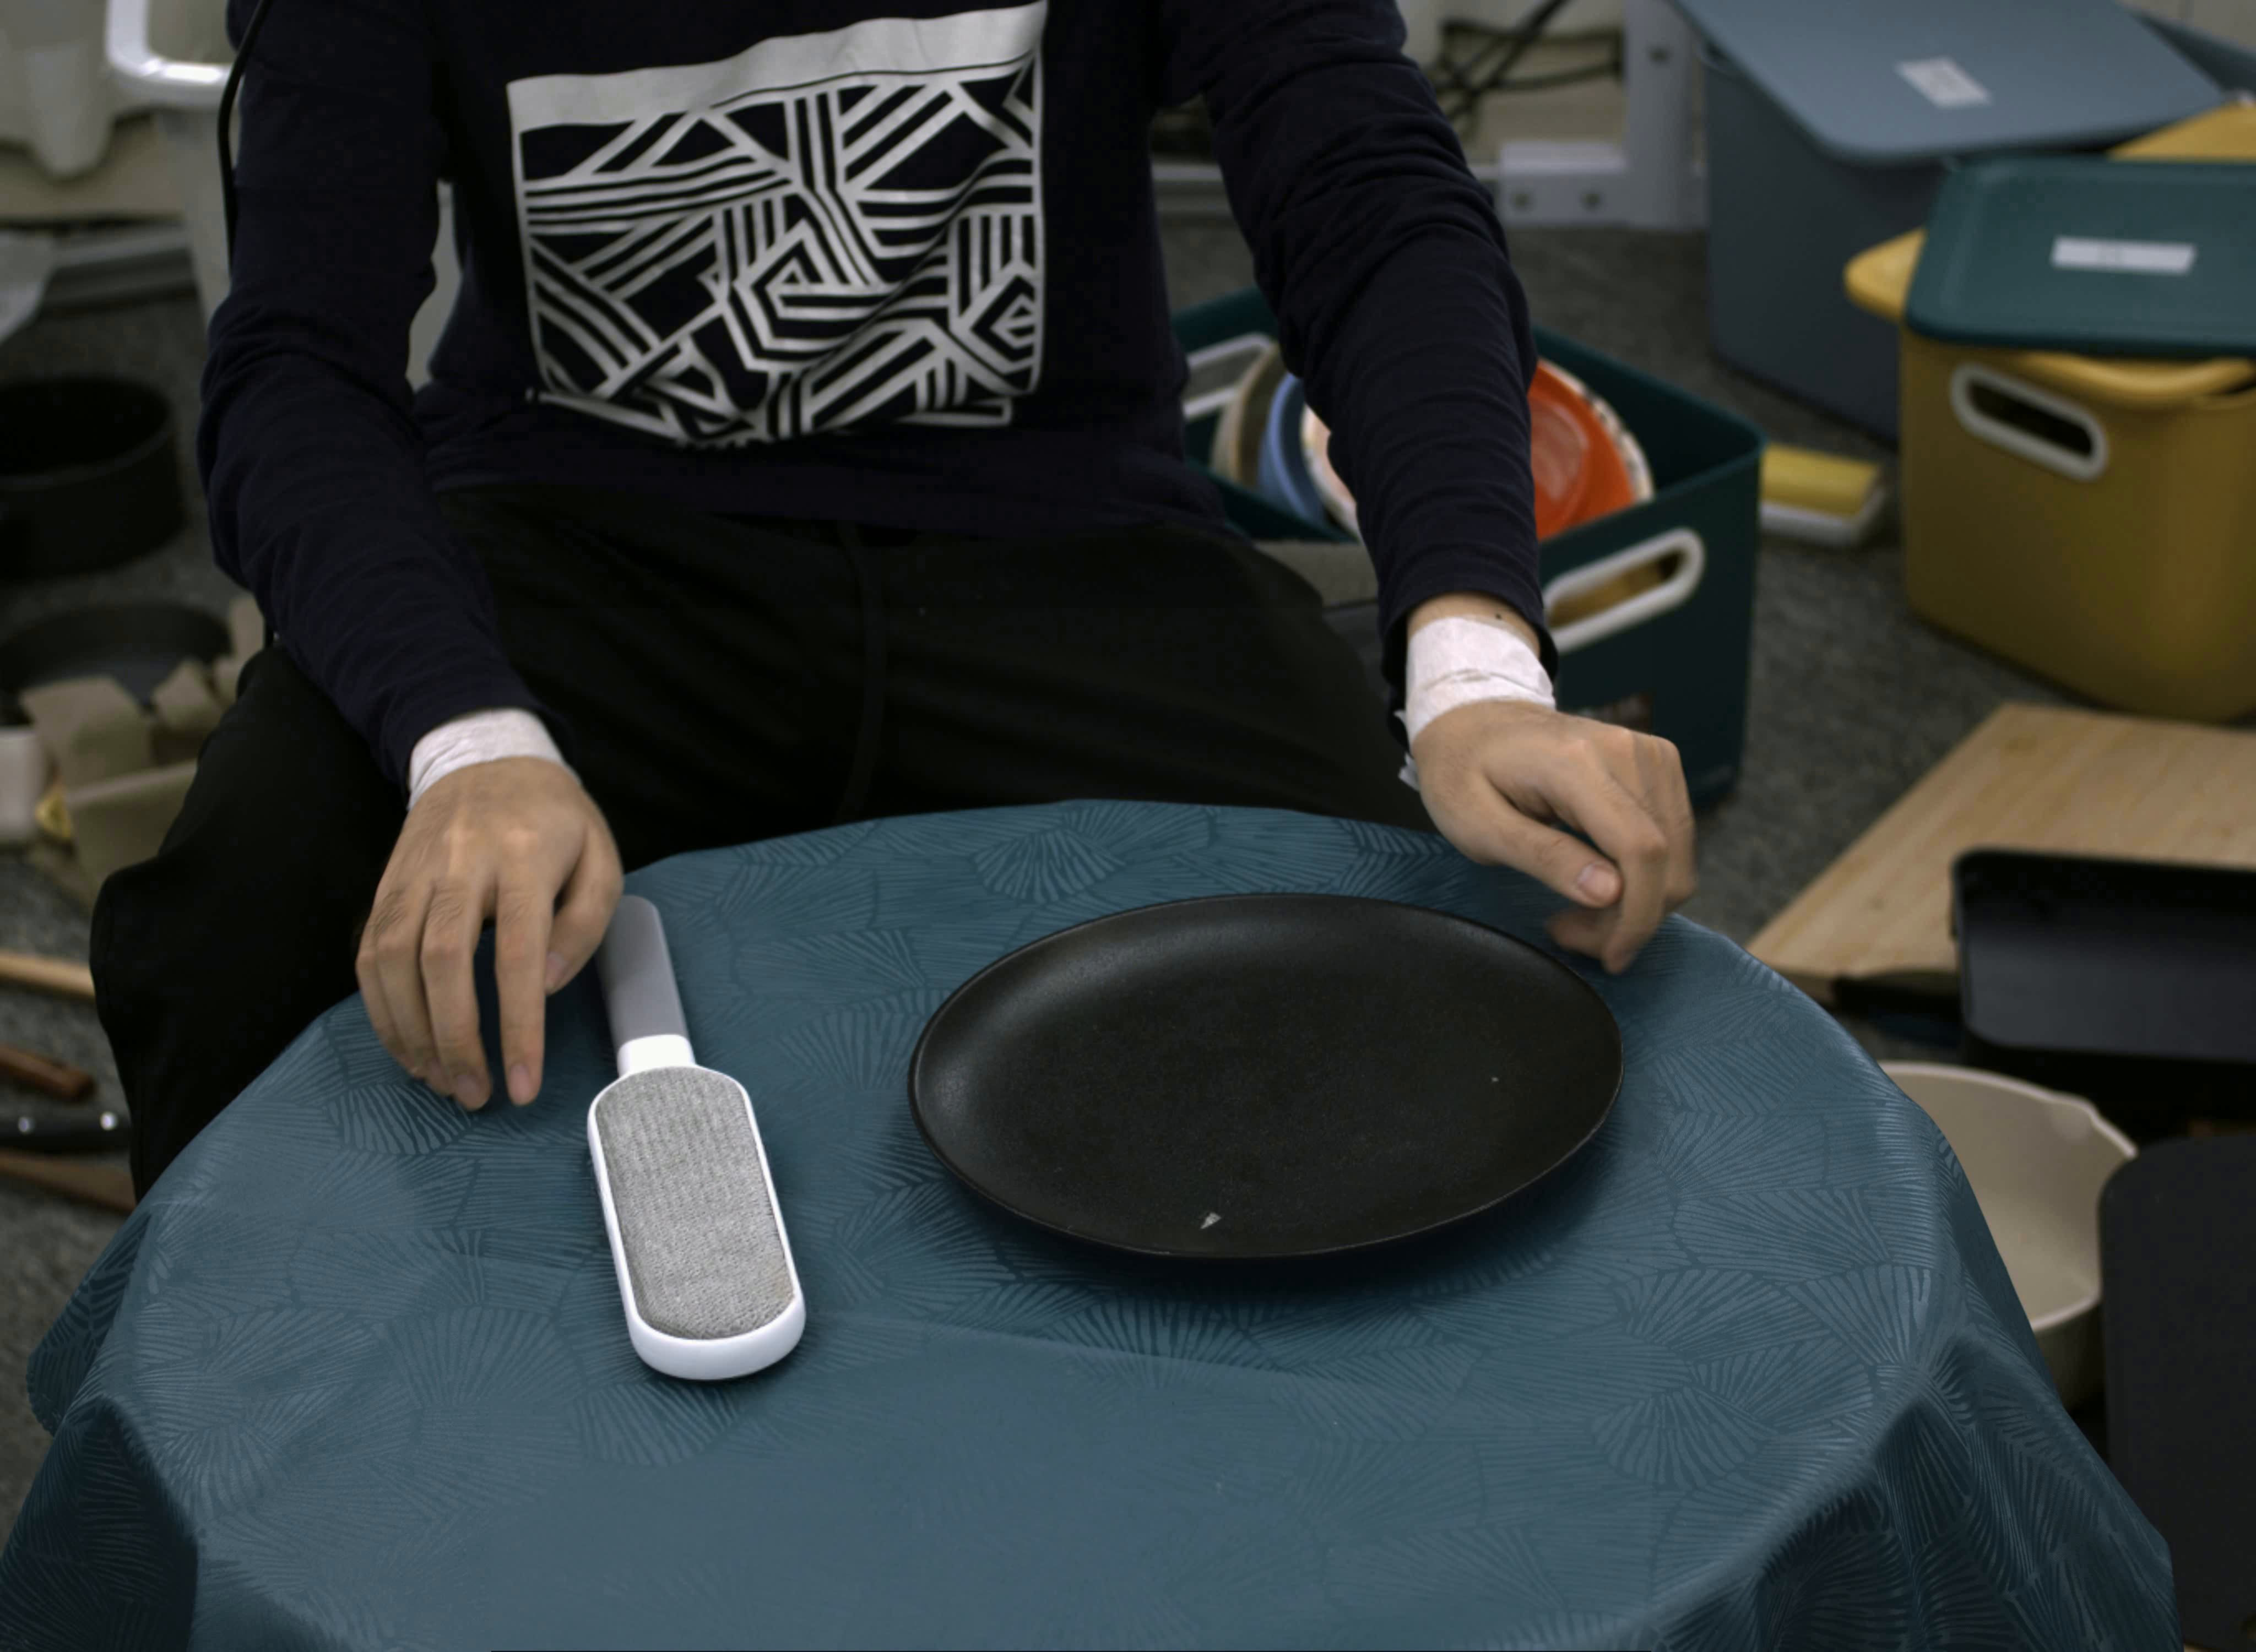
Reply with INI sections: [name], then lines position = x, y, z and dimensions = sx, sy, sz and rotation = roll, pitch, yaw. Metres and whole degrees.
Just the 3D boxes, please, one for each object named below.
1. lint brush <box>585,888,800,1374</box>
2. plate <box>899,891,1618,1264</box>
[lint brush]
position = -0.153, 0.098, 1.893
dimensions = 0.060, 0.021, 0.312
rotation = -12, 28, -6
[plate]
position = 0.044, 0.089, 1.896
dimensions = 0.243, 0.023, 0.248
rotation = -2, 27, 1
